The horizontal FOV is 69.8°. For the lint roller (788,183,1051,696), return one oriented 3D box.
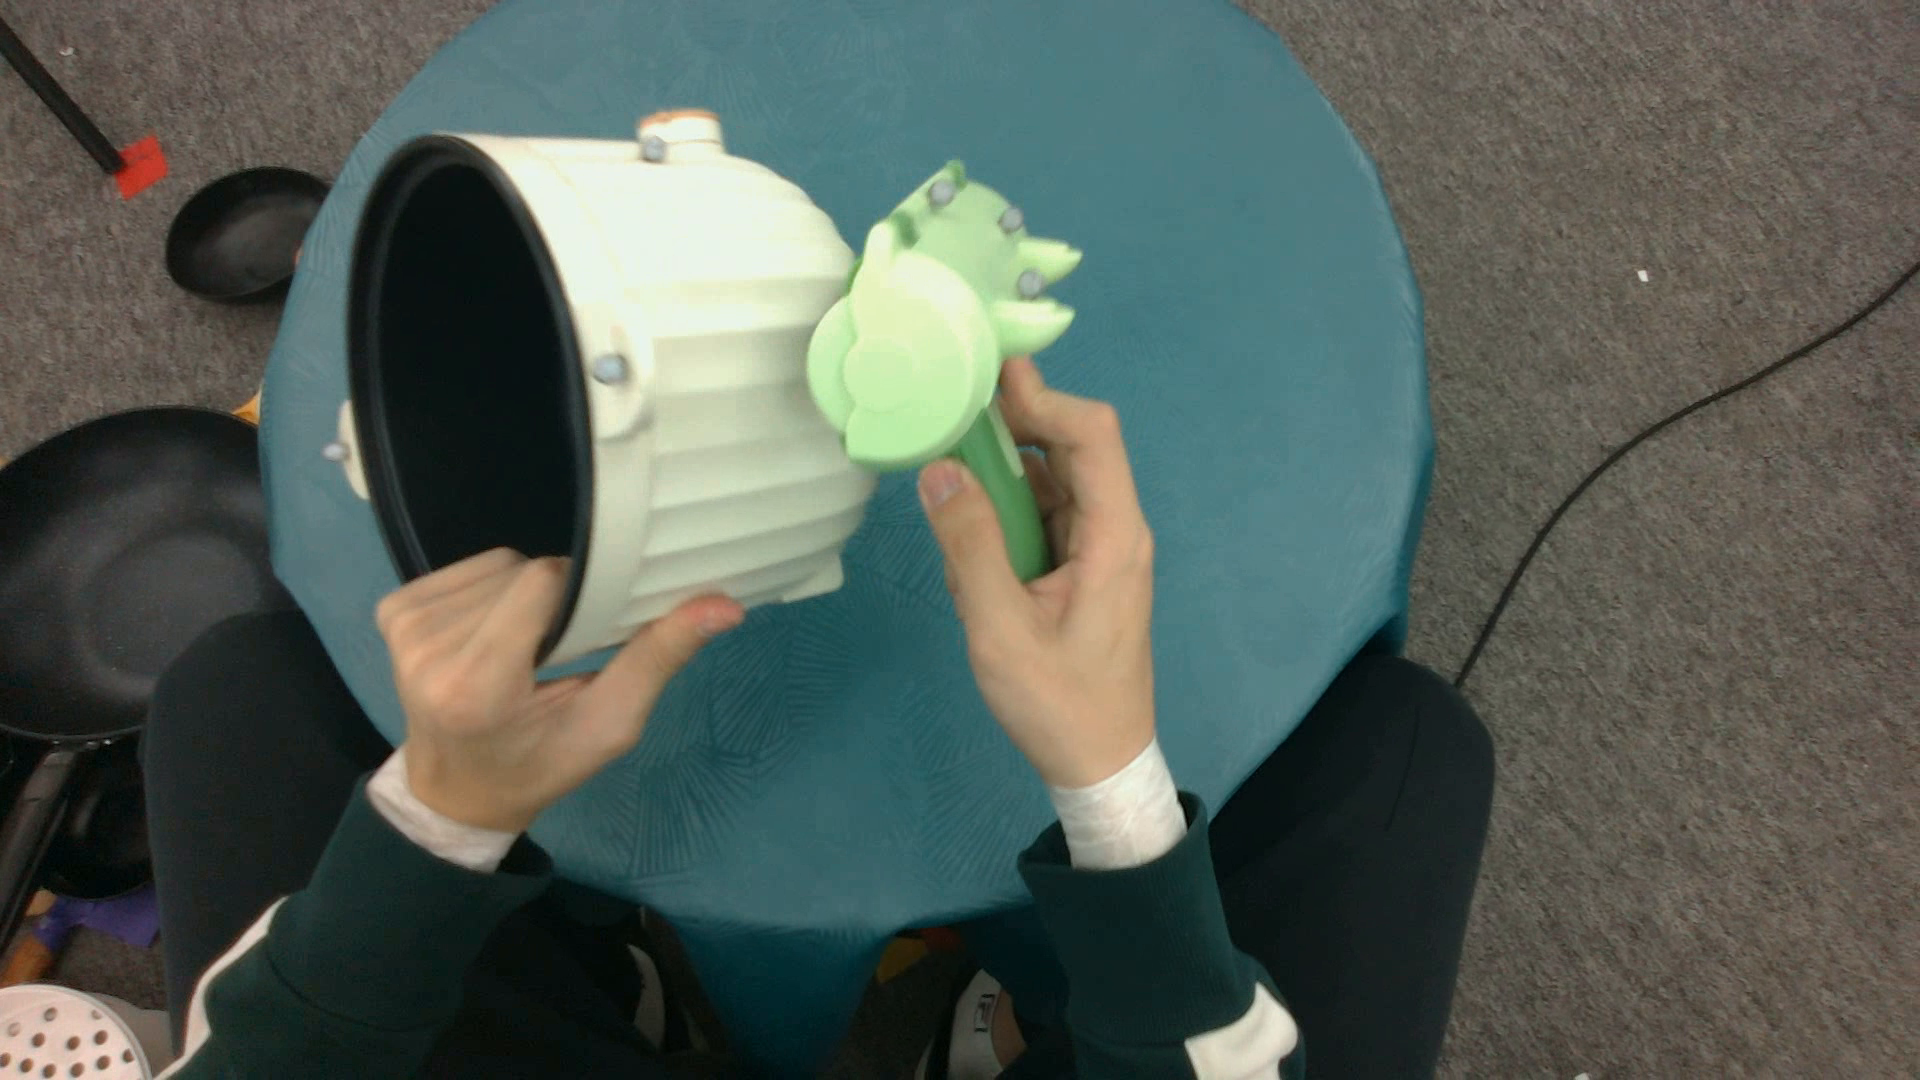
[{"bbox_3d":[0.013,-0.033,0.489,0.082,0.199,0.183,-24,106,12],"label":"lint roller"}]

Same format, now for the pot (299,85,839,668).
[{"bbox_3d":[-0.136,-0.065,0.499,0.143,0.239,0.190,-21,98,-43],"label":"pot"}]
